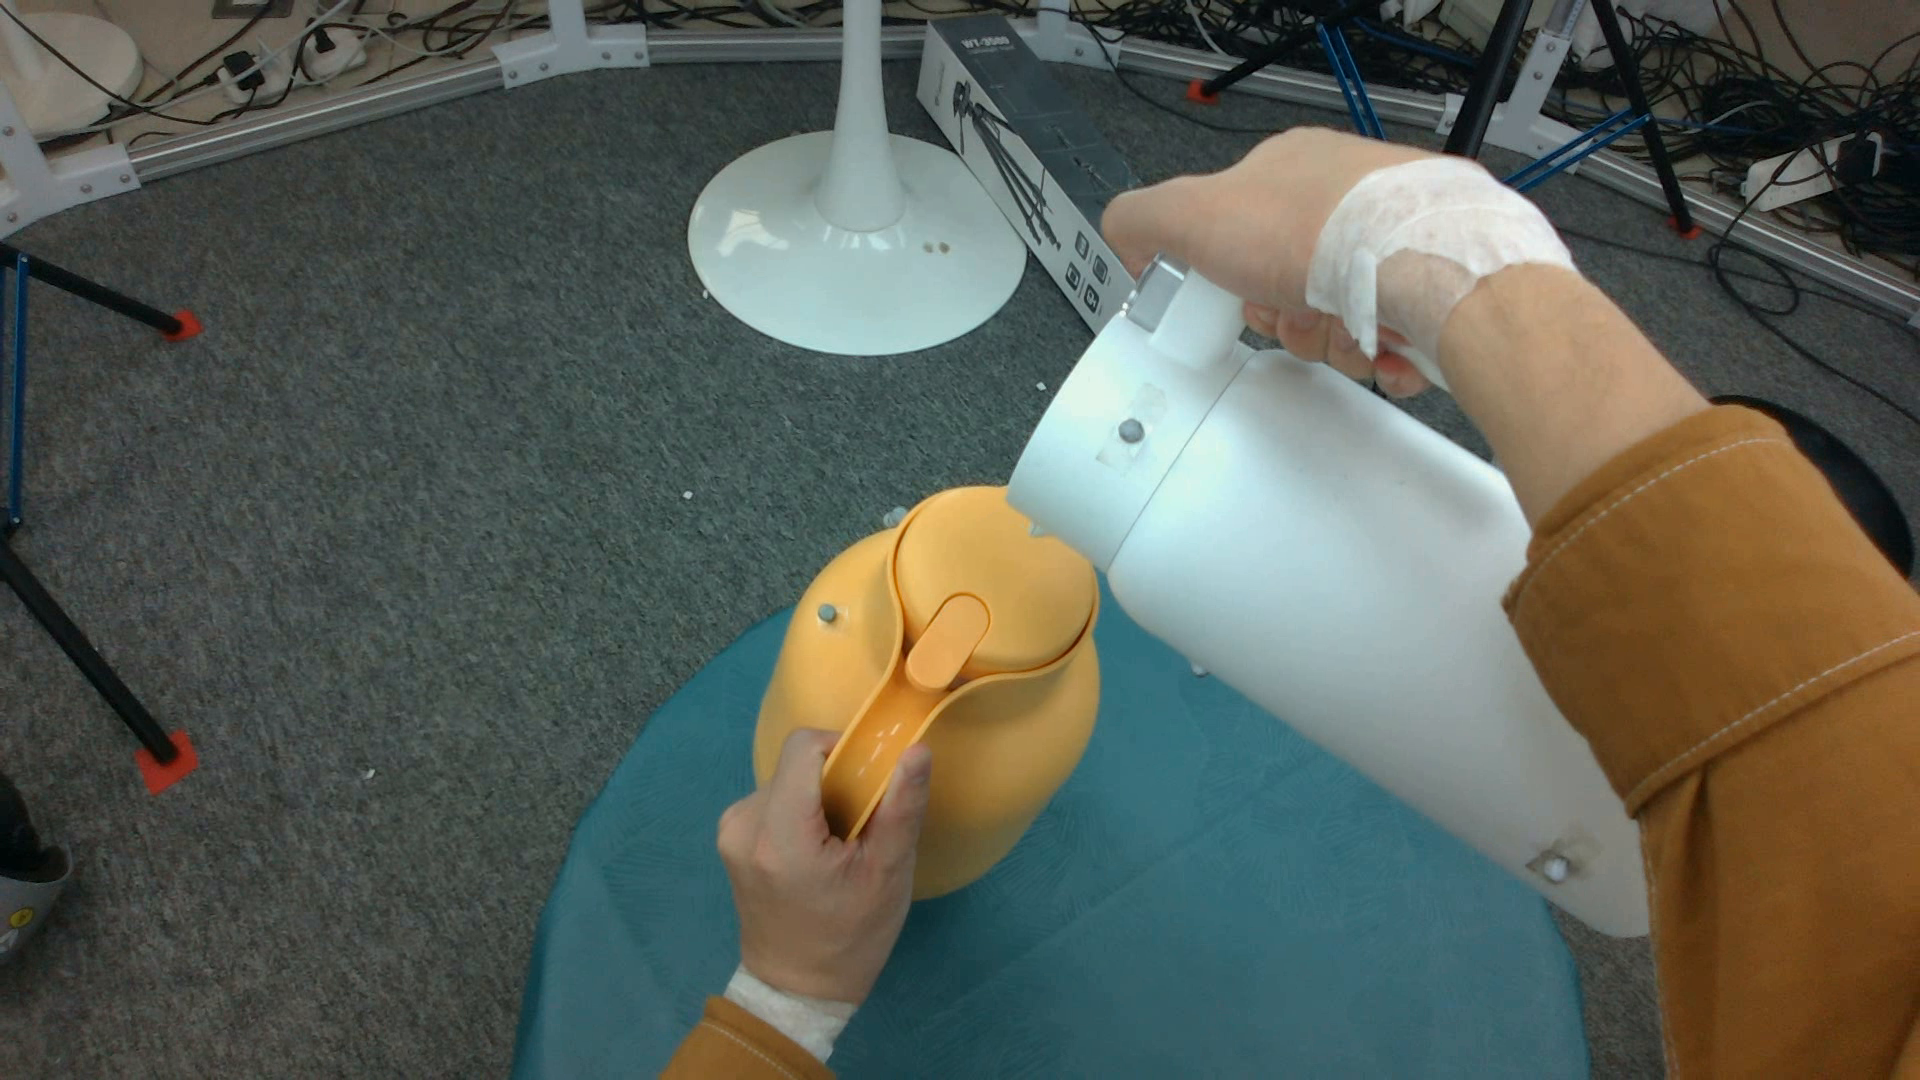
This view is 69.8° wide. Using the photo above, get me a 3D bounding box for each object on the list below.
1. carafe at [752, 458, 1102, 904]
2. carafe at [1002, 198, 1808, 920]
[{"bbox_3d":[-0.024,0.083,0.684,0.163,0.259,0.203,34,54,9],"label":"carafe"},{"bbox_3d":[0.158,0.003,0.492,0.269,0.172,0.124,35,41,10],"label":"carafe"}]
